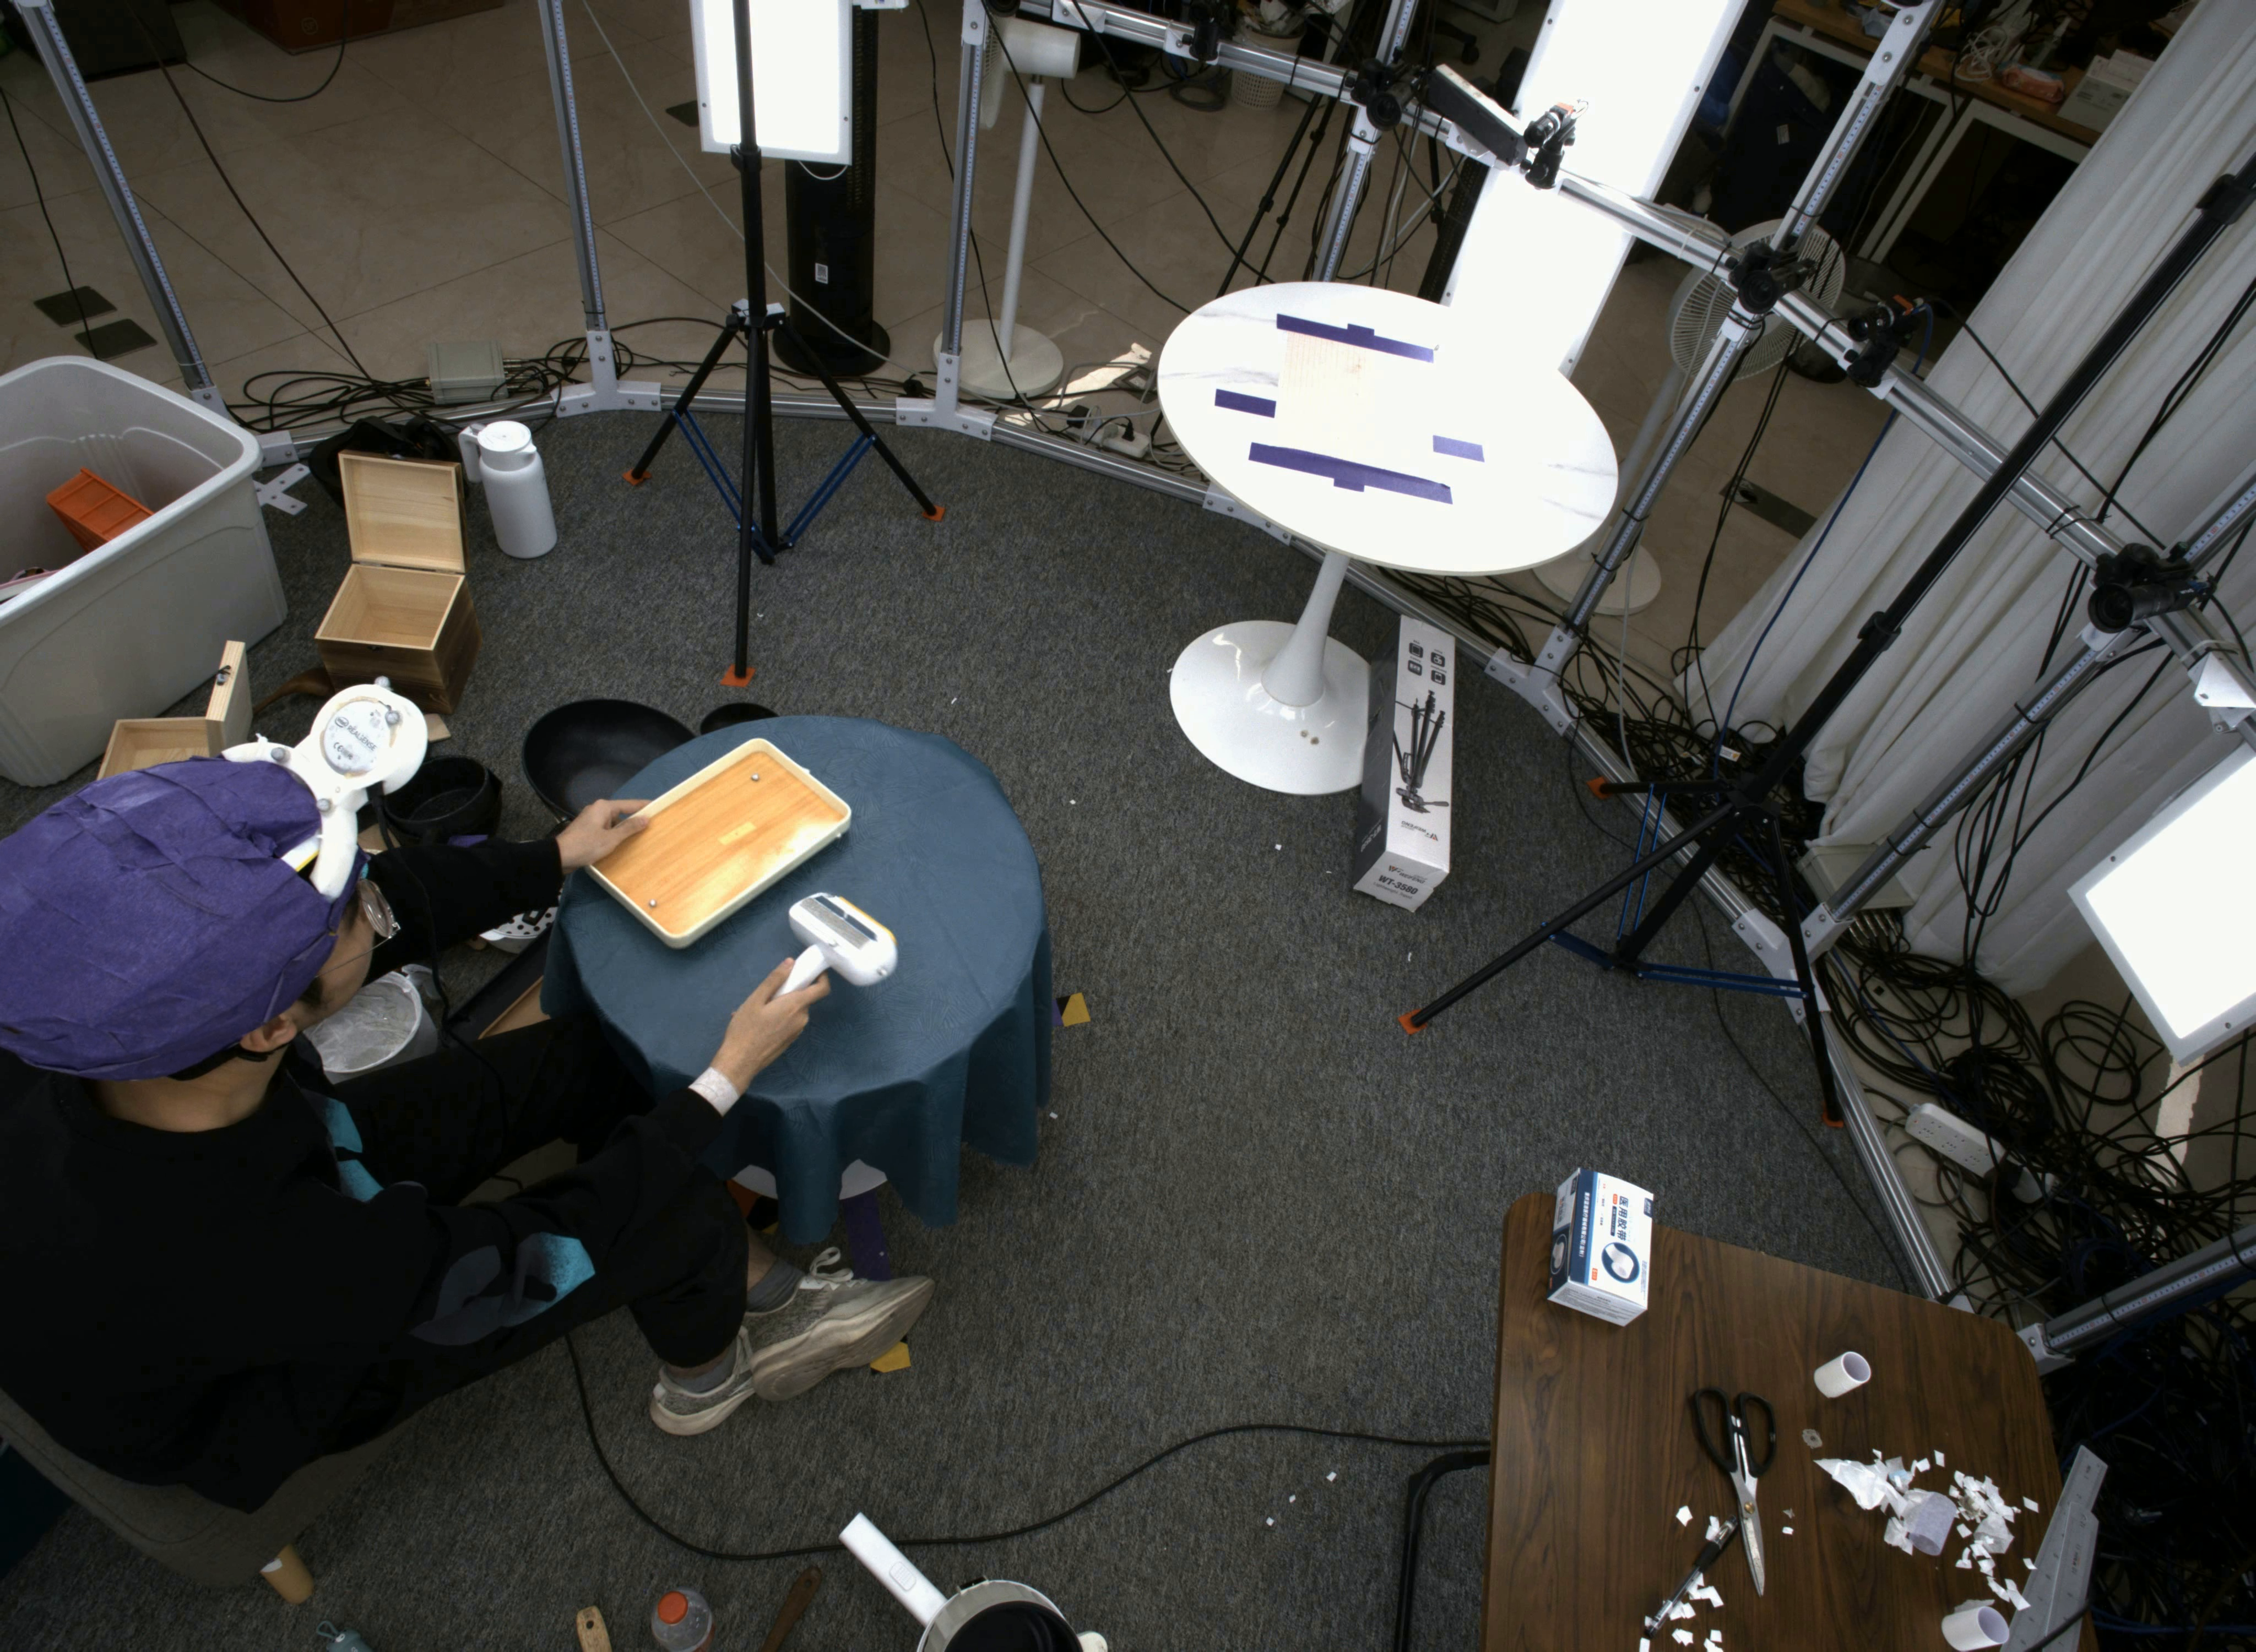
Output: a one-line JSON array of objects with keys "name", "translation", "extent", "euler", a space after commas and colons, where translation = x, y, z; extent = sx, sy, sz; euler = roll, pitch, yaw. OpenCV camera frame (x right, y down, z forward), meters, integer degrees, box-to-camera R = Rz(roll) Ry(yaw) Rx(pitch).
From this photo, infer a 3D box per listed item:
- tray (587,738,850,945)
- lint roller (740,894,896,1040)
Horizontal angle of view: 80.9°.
[{"name": "tray", "translation": [-0.523, 0.011, 1.654], "extent": [0.187, 0.028, 0.300], "euler": [35, 51, 17]}, {"name": "lint roller", "translation": [-0.377, 0.168, 1.511], "extent": [0.192, 0.077, 0.185], "euler": [-36, 36, -19]}]
